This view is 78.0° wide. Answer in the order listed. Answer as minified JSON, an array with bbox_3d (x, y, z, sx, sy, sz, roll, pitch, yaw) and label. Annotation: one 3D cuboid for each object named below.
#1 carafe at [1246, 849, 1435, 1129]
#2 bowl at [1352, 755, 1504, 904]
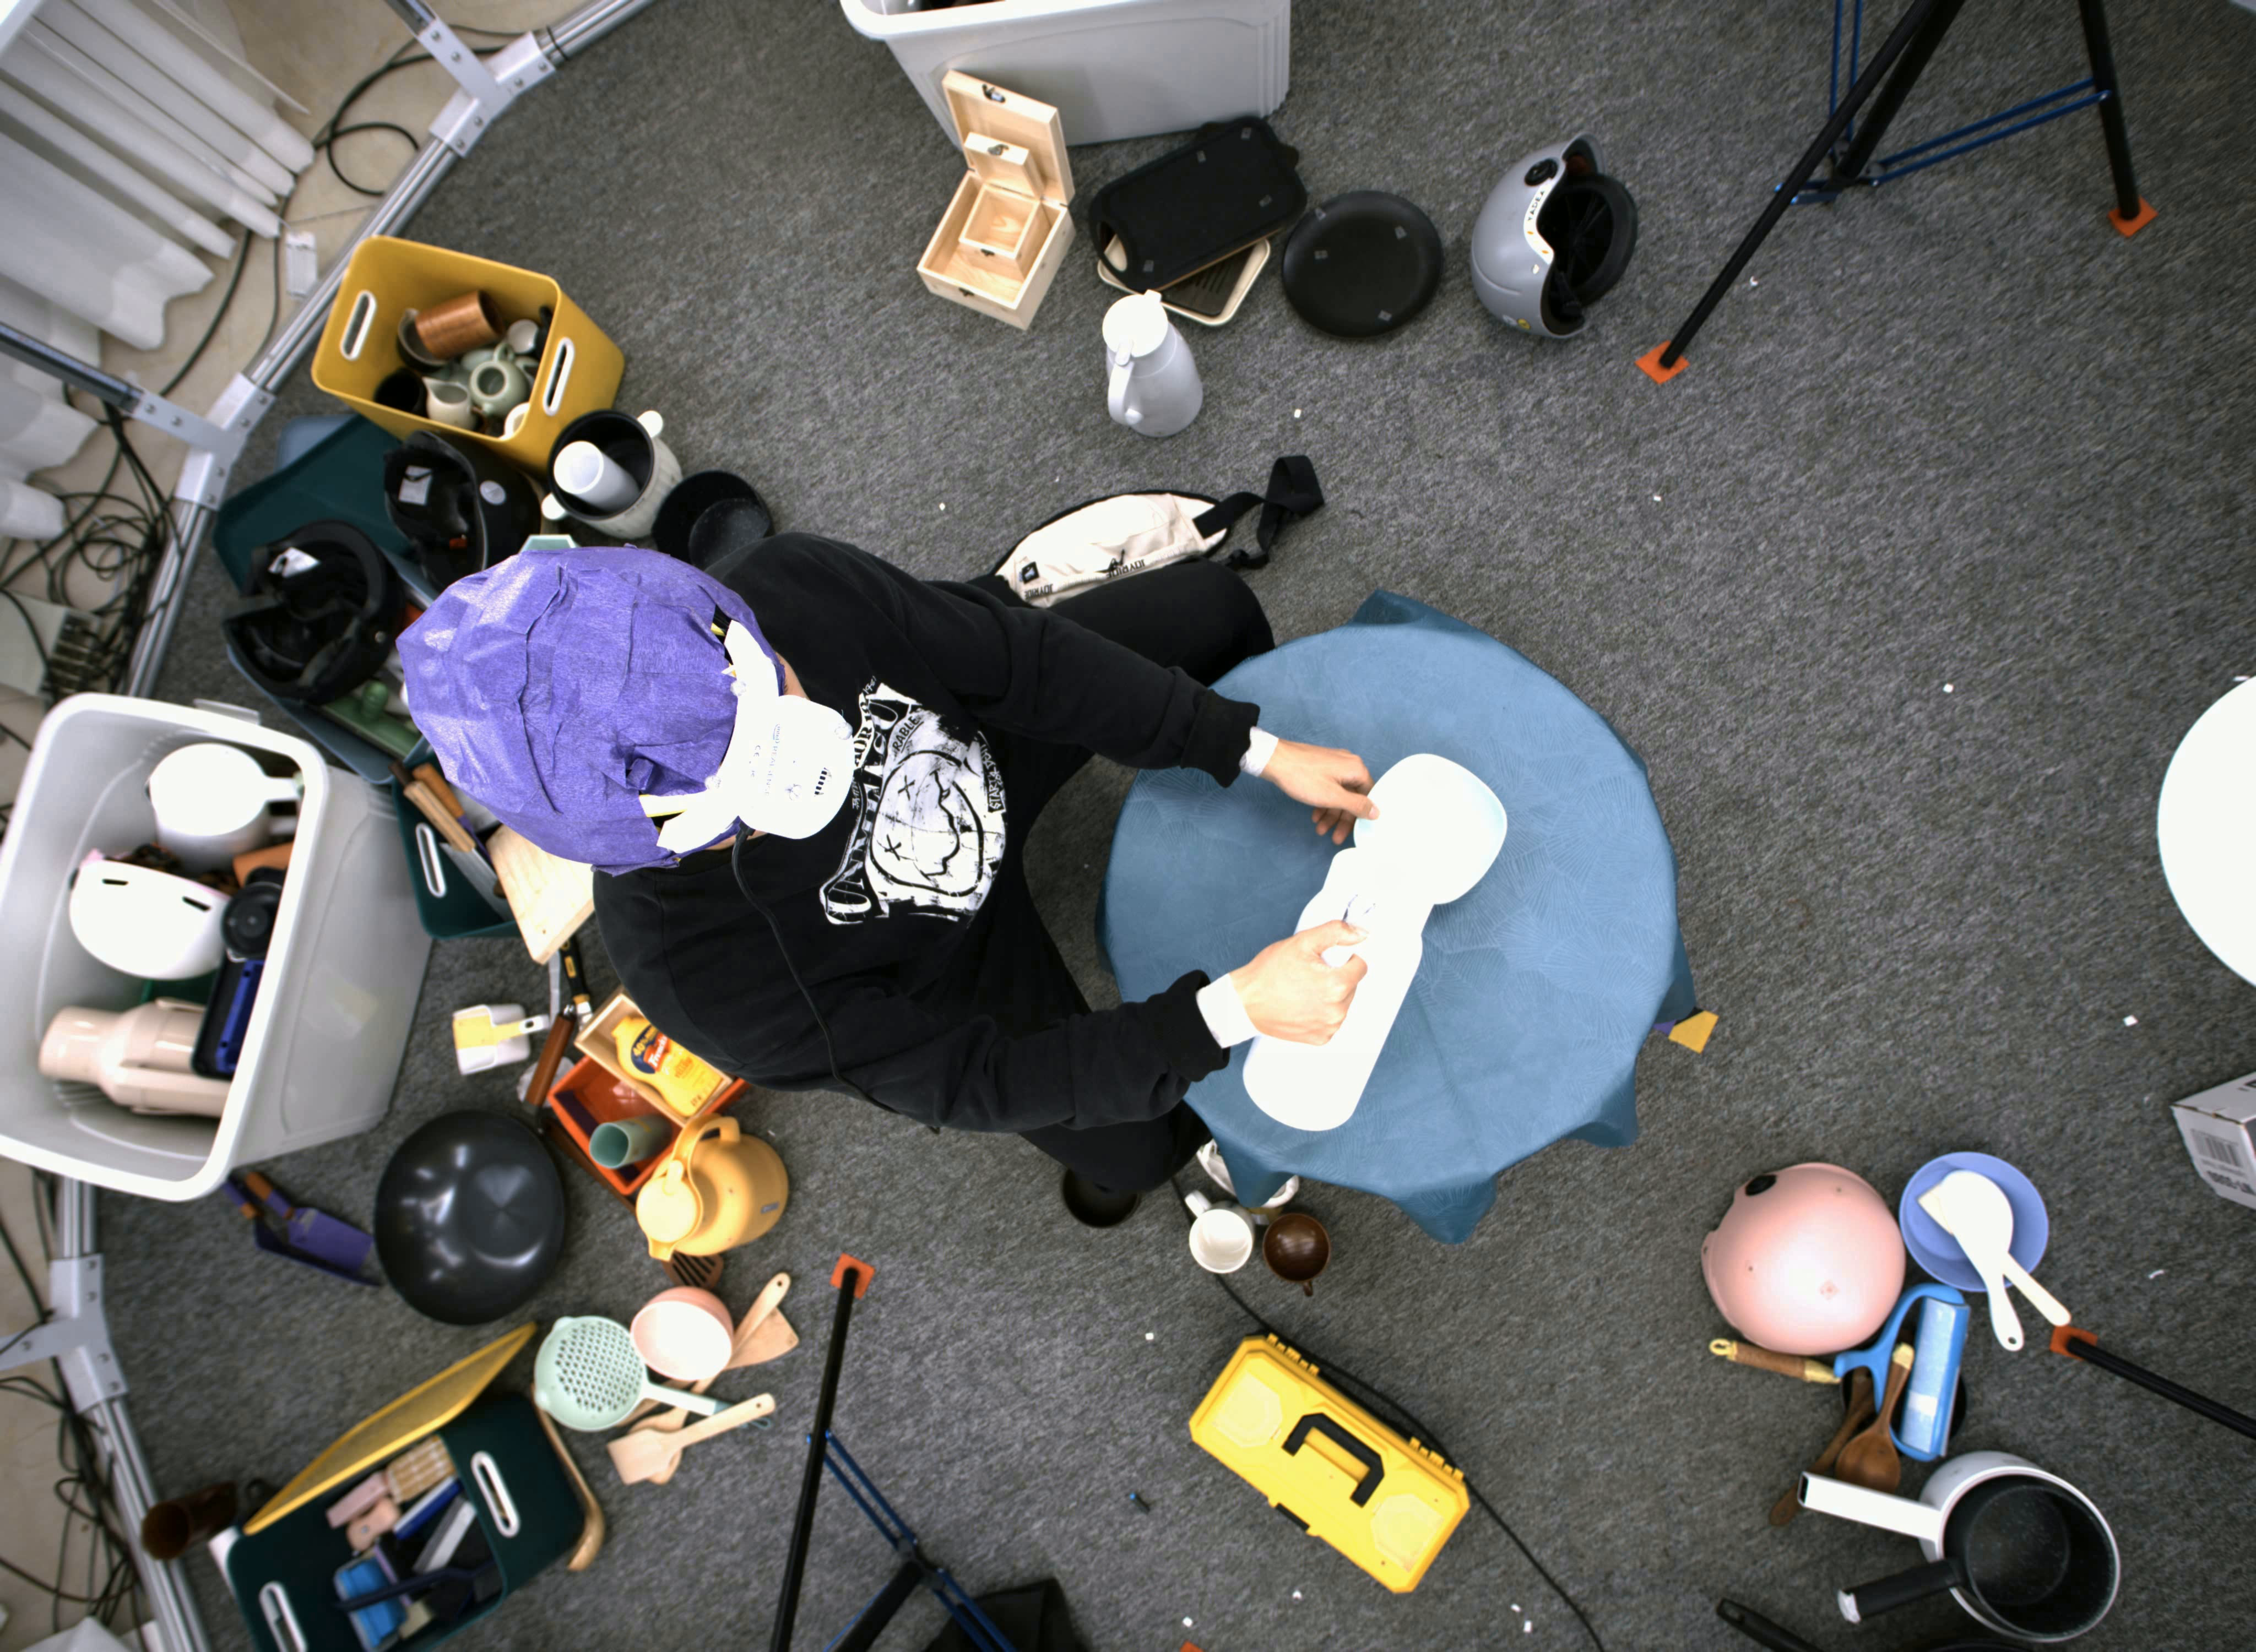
[{"bbox_3d":[0.194,0.163,1.304,0.123,0.169,0.275,29,126,16],"label":"carafe"},{"bbox_3d":[0.302,0.005,1.398,0.152,0.059,0.150,-1,85,8],"label":"bowl"}]
